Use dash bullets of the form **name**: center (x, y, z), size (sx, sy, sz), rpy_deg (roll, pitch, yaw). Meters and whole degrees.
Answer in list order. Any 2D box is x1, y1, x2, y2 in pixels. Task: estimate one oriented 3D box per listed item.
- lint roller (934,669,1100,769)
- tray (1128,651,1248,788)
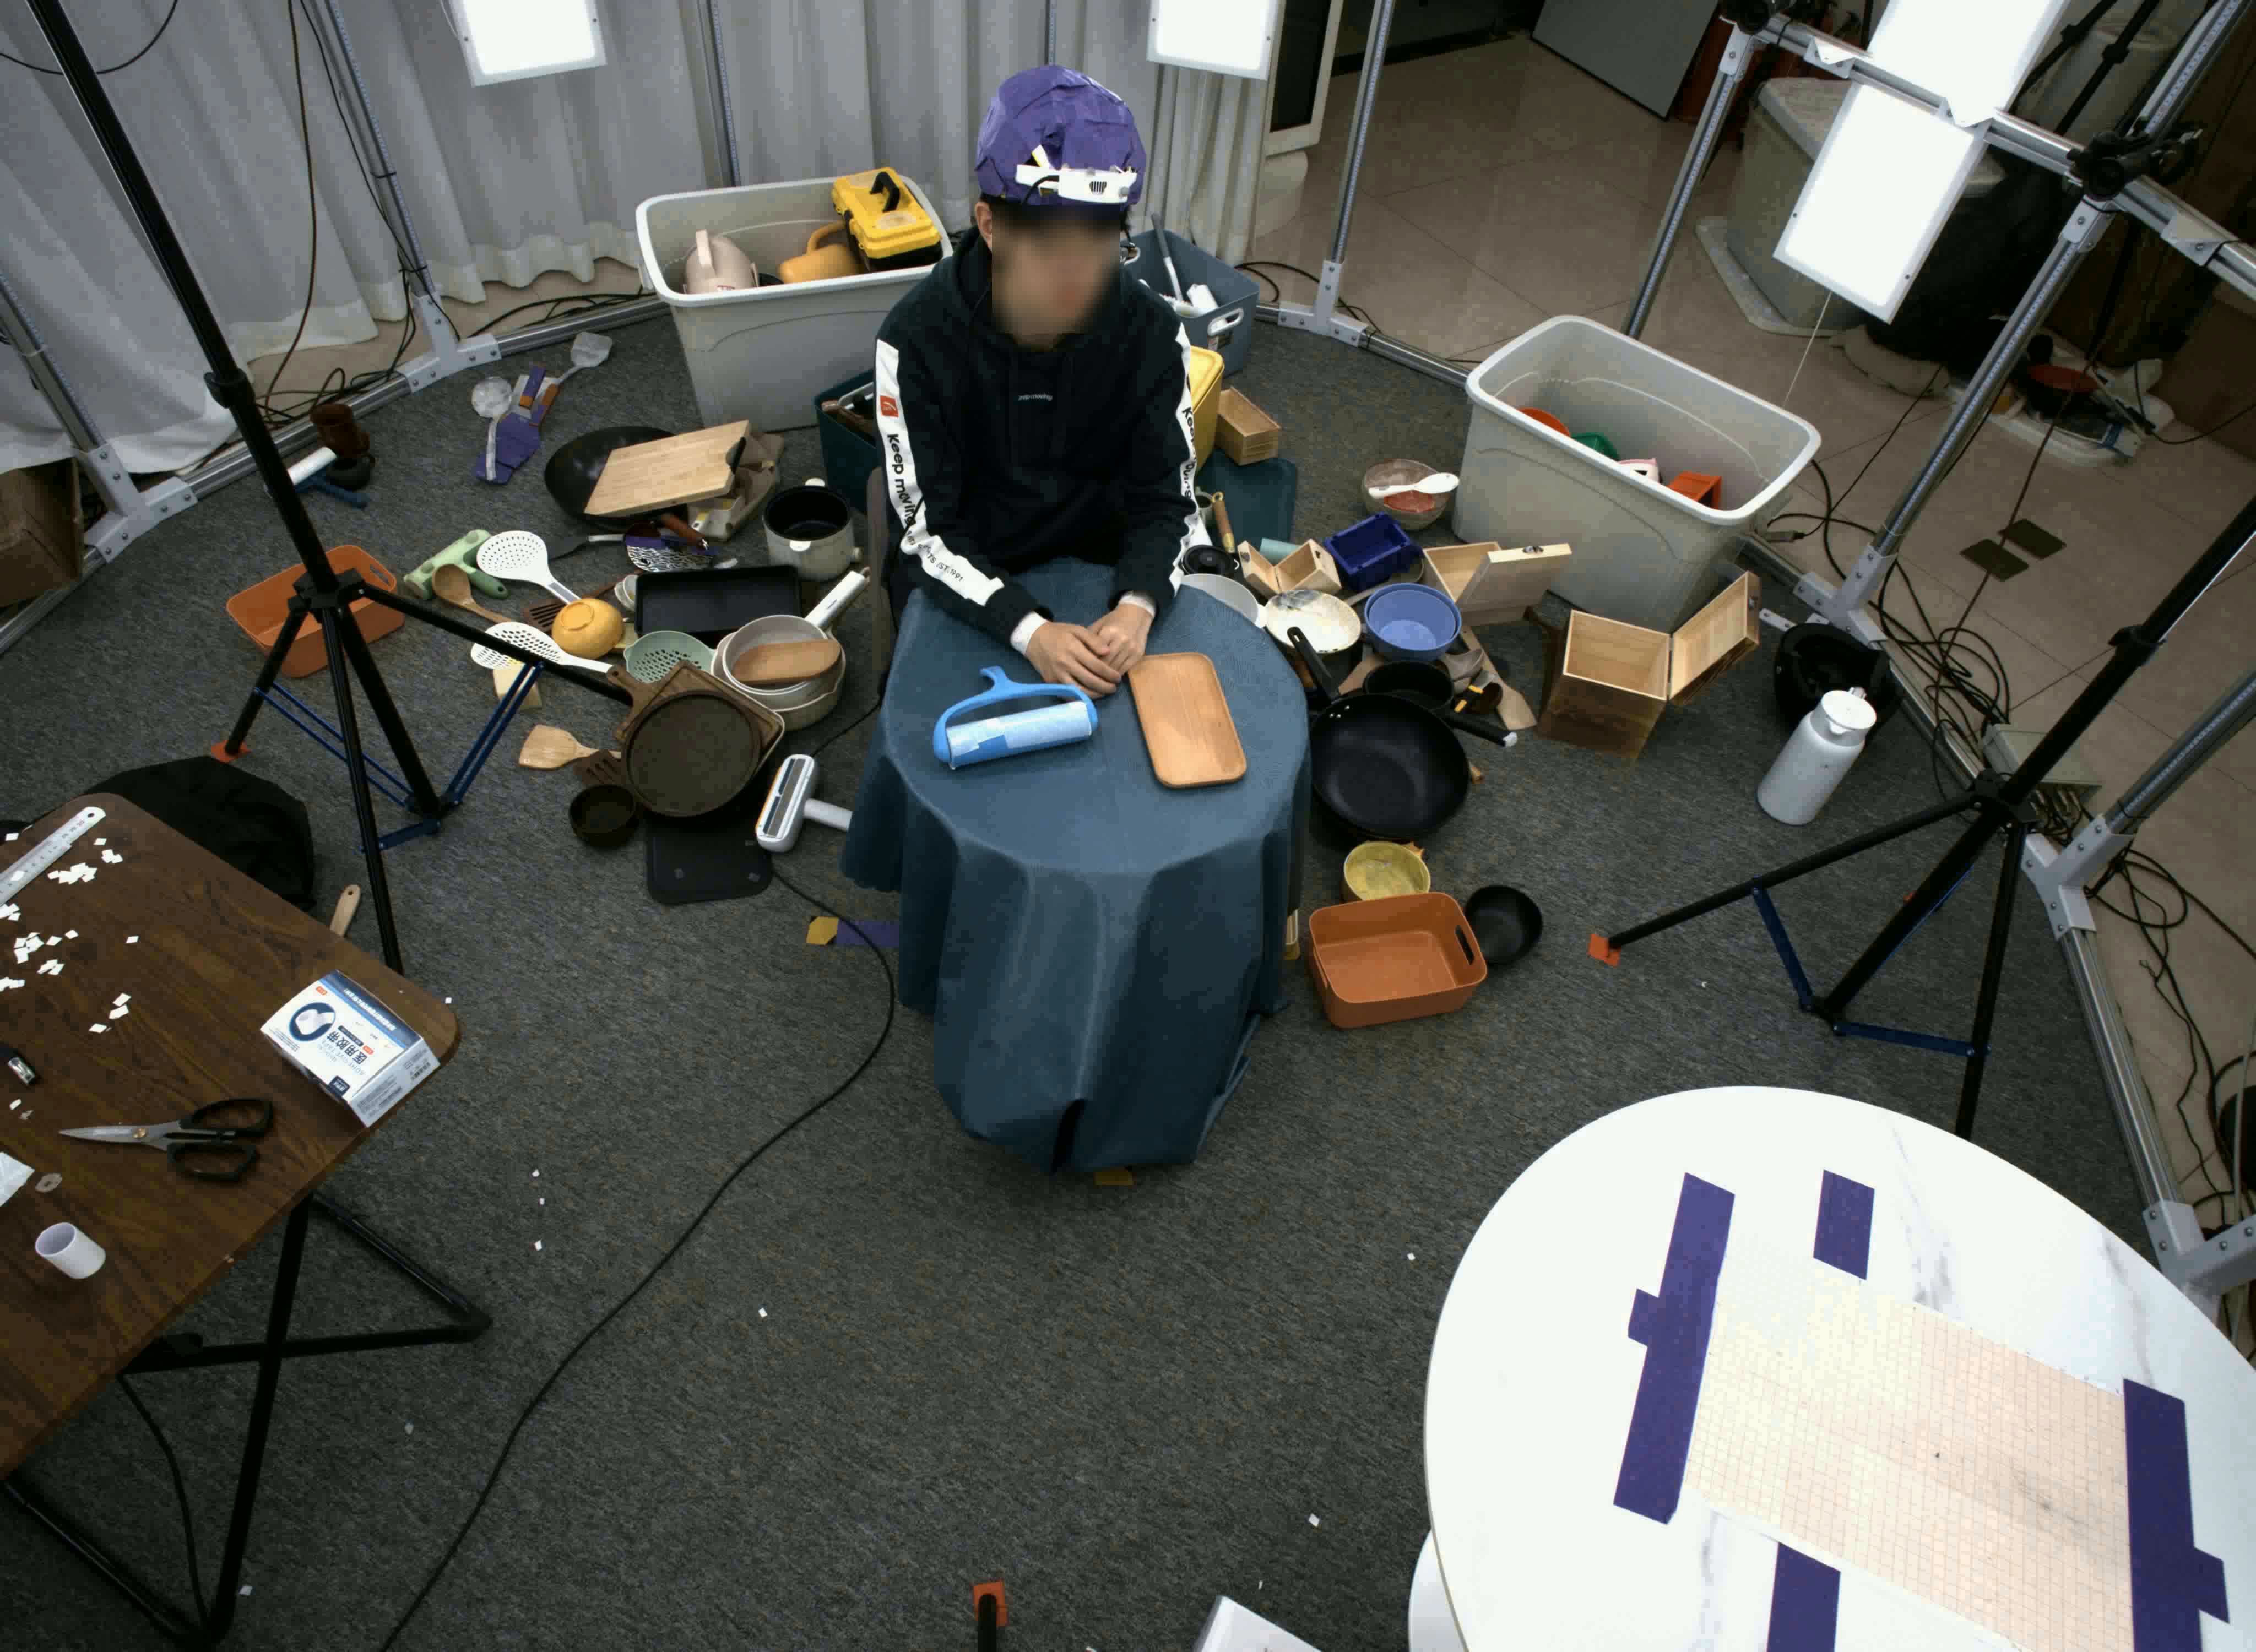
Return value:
- **lint roller**: center (-0.170, -0.169, 1.766), size (0.229, 0.066, 0.184), rpy_deg (-16, 53, -15)
- **tray**: center (0.081, -0.152, 1.794), size (0.130, 0.022, 0.257), rpy_deg (-4, 49, -10)
